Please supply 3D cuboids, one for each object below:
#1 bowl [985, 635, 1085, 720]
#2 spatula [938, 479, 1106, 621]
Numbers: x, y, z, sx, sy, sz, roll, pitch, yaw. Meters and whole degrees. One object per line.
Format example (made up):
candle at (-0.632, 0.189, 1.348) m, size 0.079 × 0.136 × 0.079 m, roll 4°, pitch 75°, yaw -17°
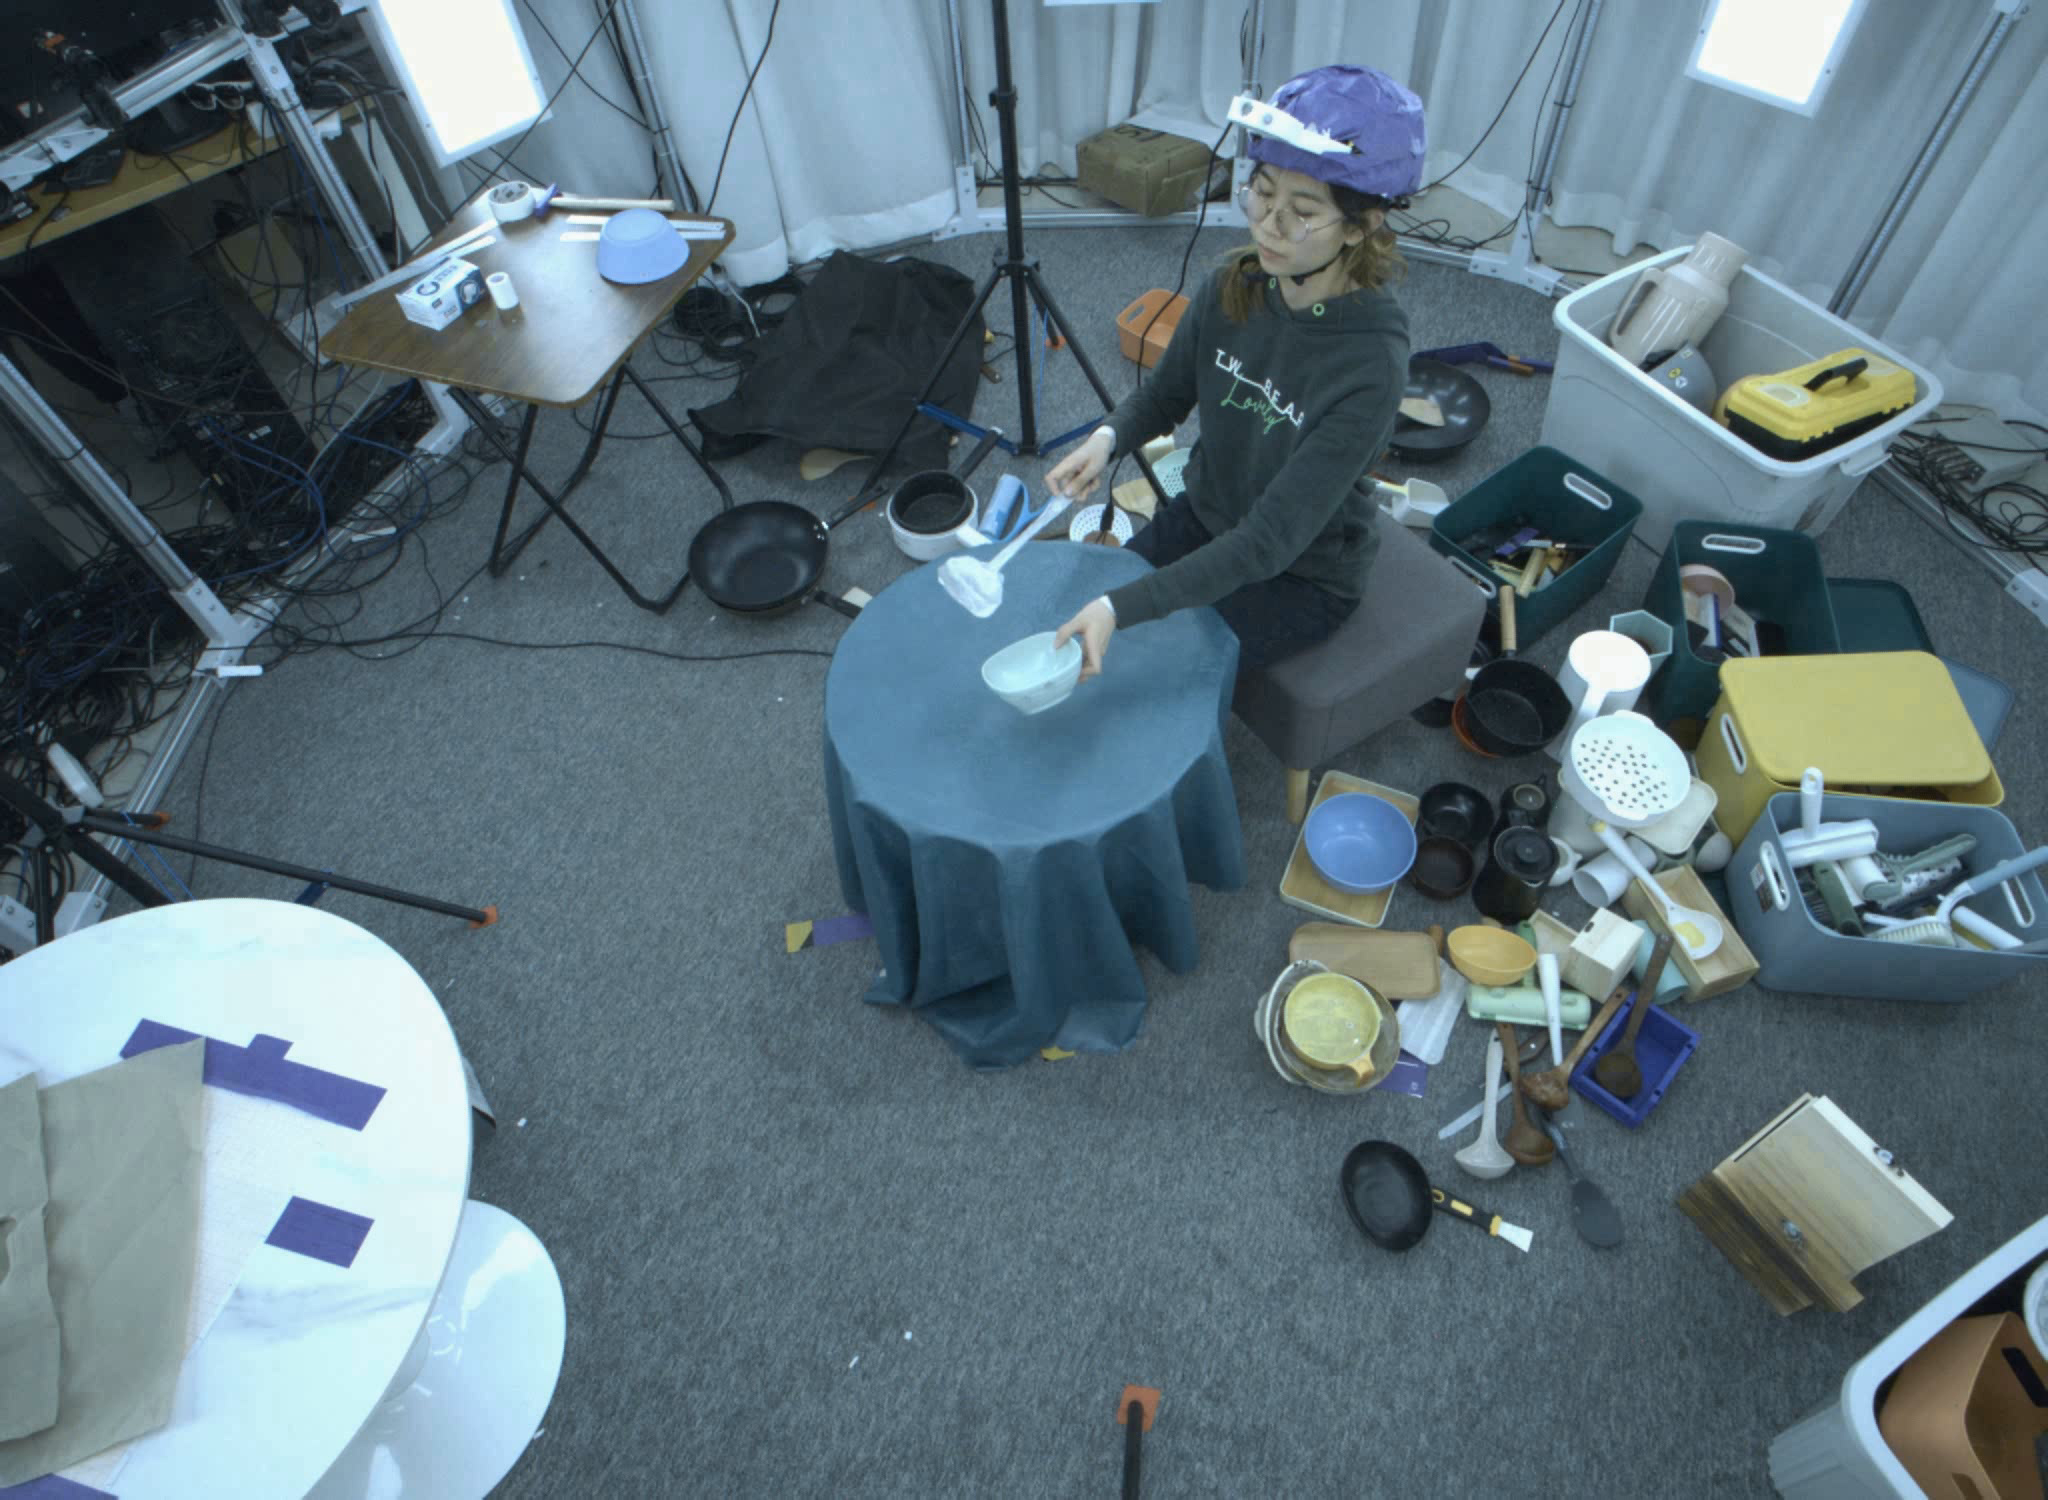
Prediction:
bowl at (0.022, -0.095, 1.733) m, size 0.150 × 0.059 × 0.150 m, roll -13°, pitch 35°, yaw 11°
spatula at (0.012, -0.315, 1.809) m, size 0.099 × 0.044 × 0.367 m, roll 45°, pitch 63°, yaw -2°
